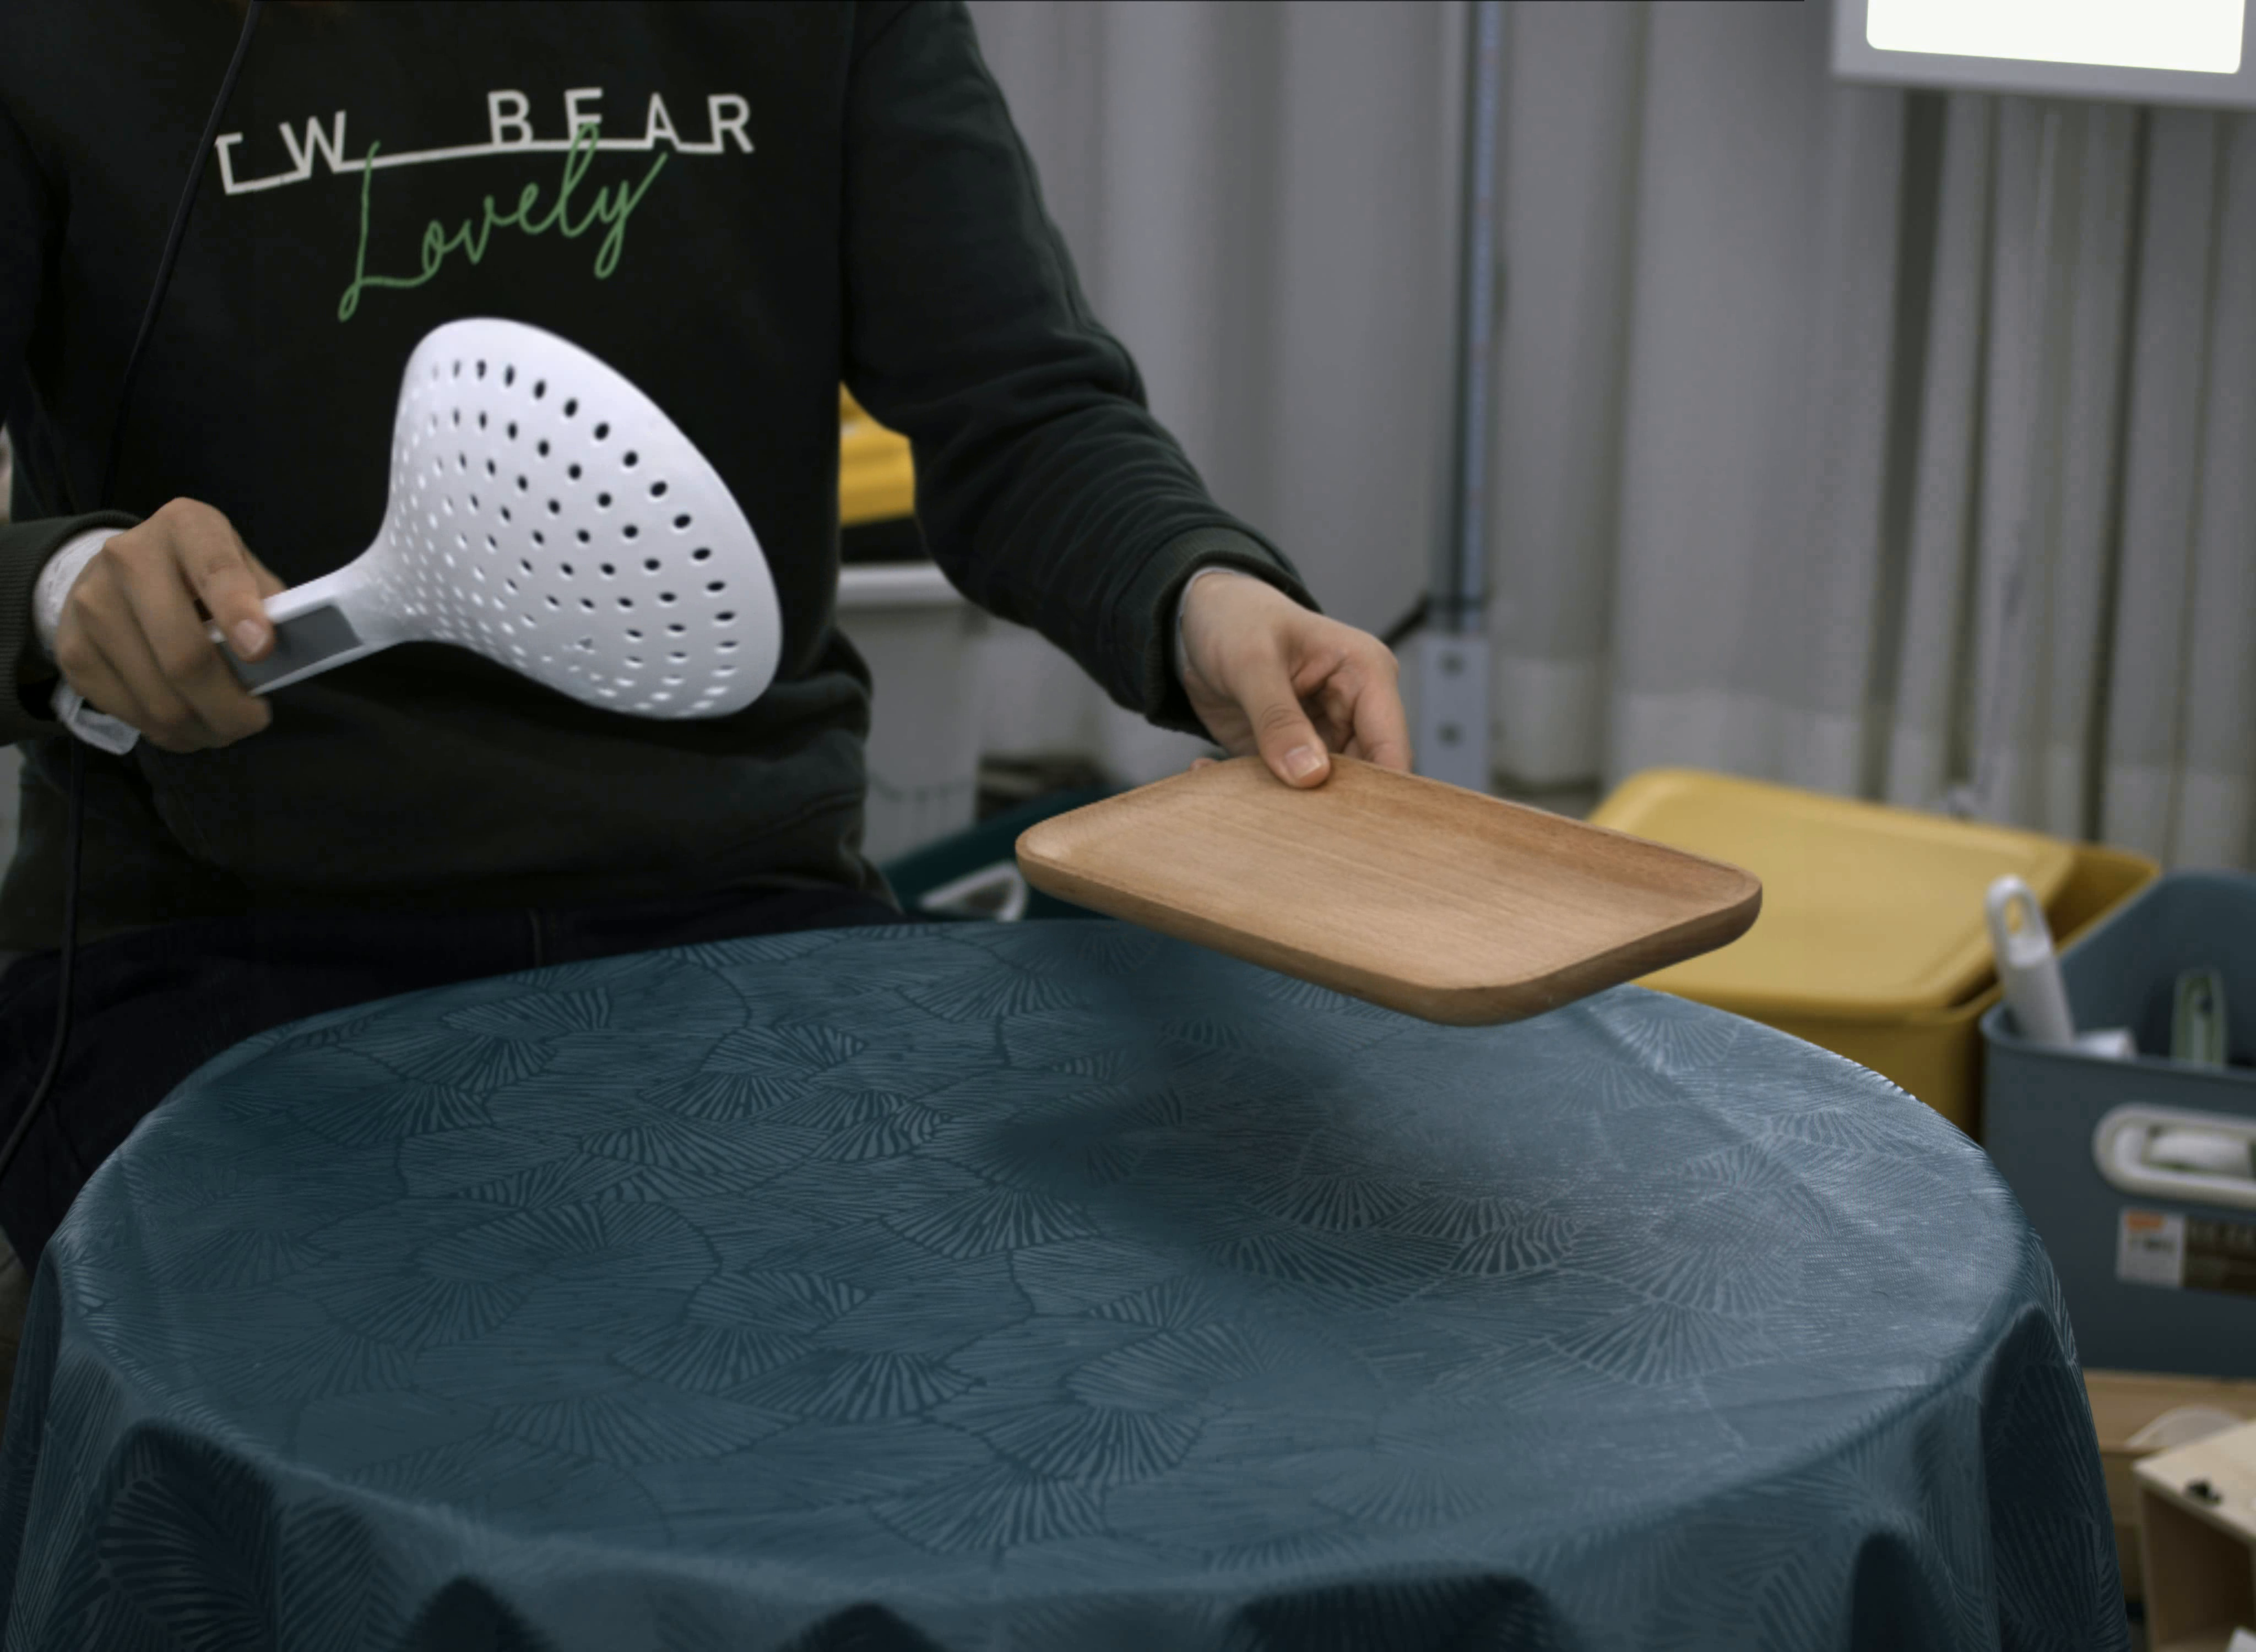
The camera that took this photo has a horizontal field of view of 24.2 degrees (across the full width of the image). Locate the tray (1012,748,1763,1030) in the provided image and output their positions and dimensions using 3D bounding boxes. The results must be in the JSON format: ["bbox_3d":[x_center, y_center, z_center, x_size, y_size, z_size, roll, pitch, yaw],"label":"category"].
[{"bbox_3d":[0.076,0.017,1.619,0.131,0.023,0.247,-16,19,-33],"label":"tray"}]

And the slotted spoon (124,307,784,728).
[{"bbox_3d":[-0.214,-0.069,1.548,0.046,0.137,0.347,-45,18,-27],"label":"slotted spoon"}]
